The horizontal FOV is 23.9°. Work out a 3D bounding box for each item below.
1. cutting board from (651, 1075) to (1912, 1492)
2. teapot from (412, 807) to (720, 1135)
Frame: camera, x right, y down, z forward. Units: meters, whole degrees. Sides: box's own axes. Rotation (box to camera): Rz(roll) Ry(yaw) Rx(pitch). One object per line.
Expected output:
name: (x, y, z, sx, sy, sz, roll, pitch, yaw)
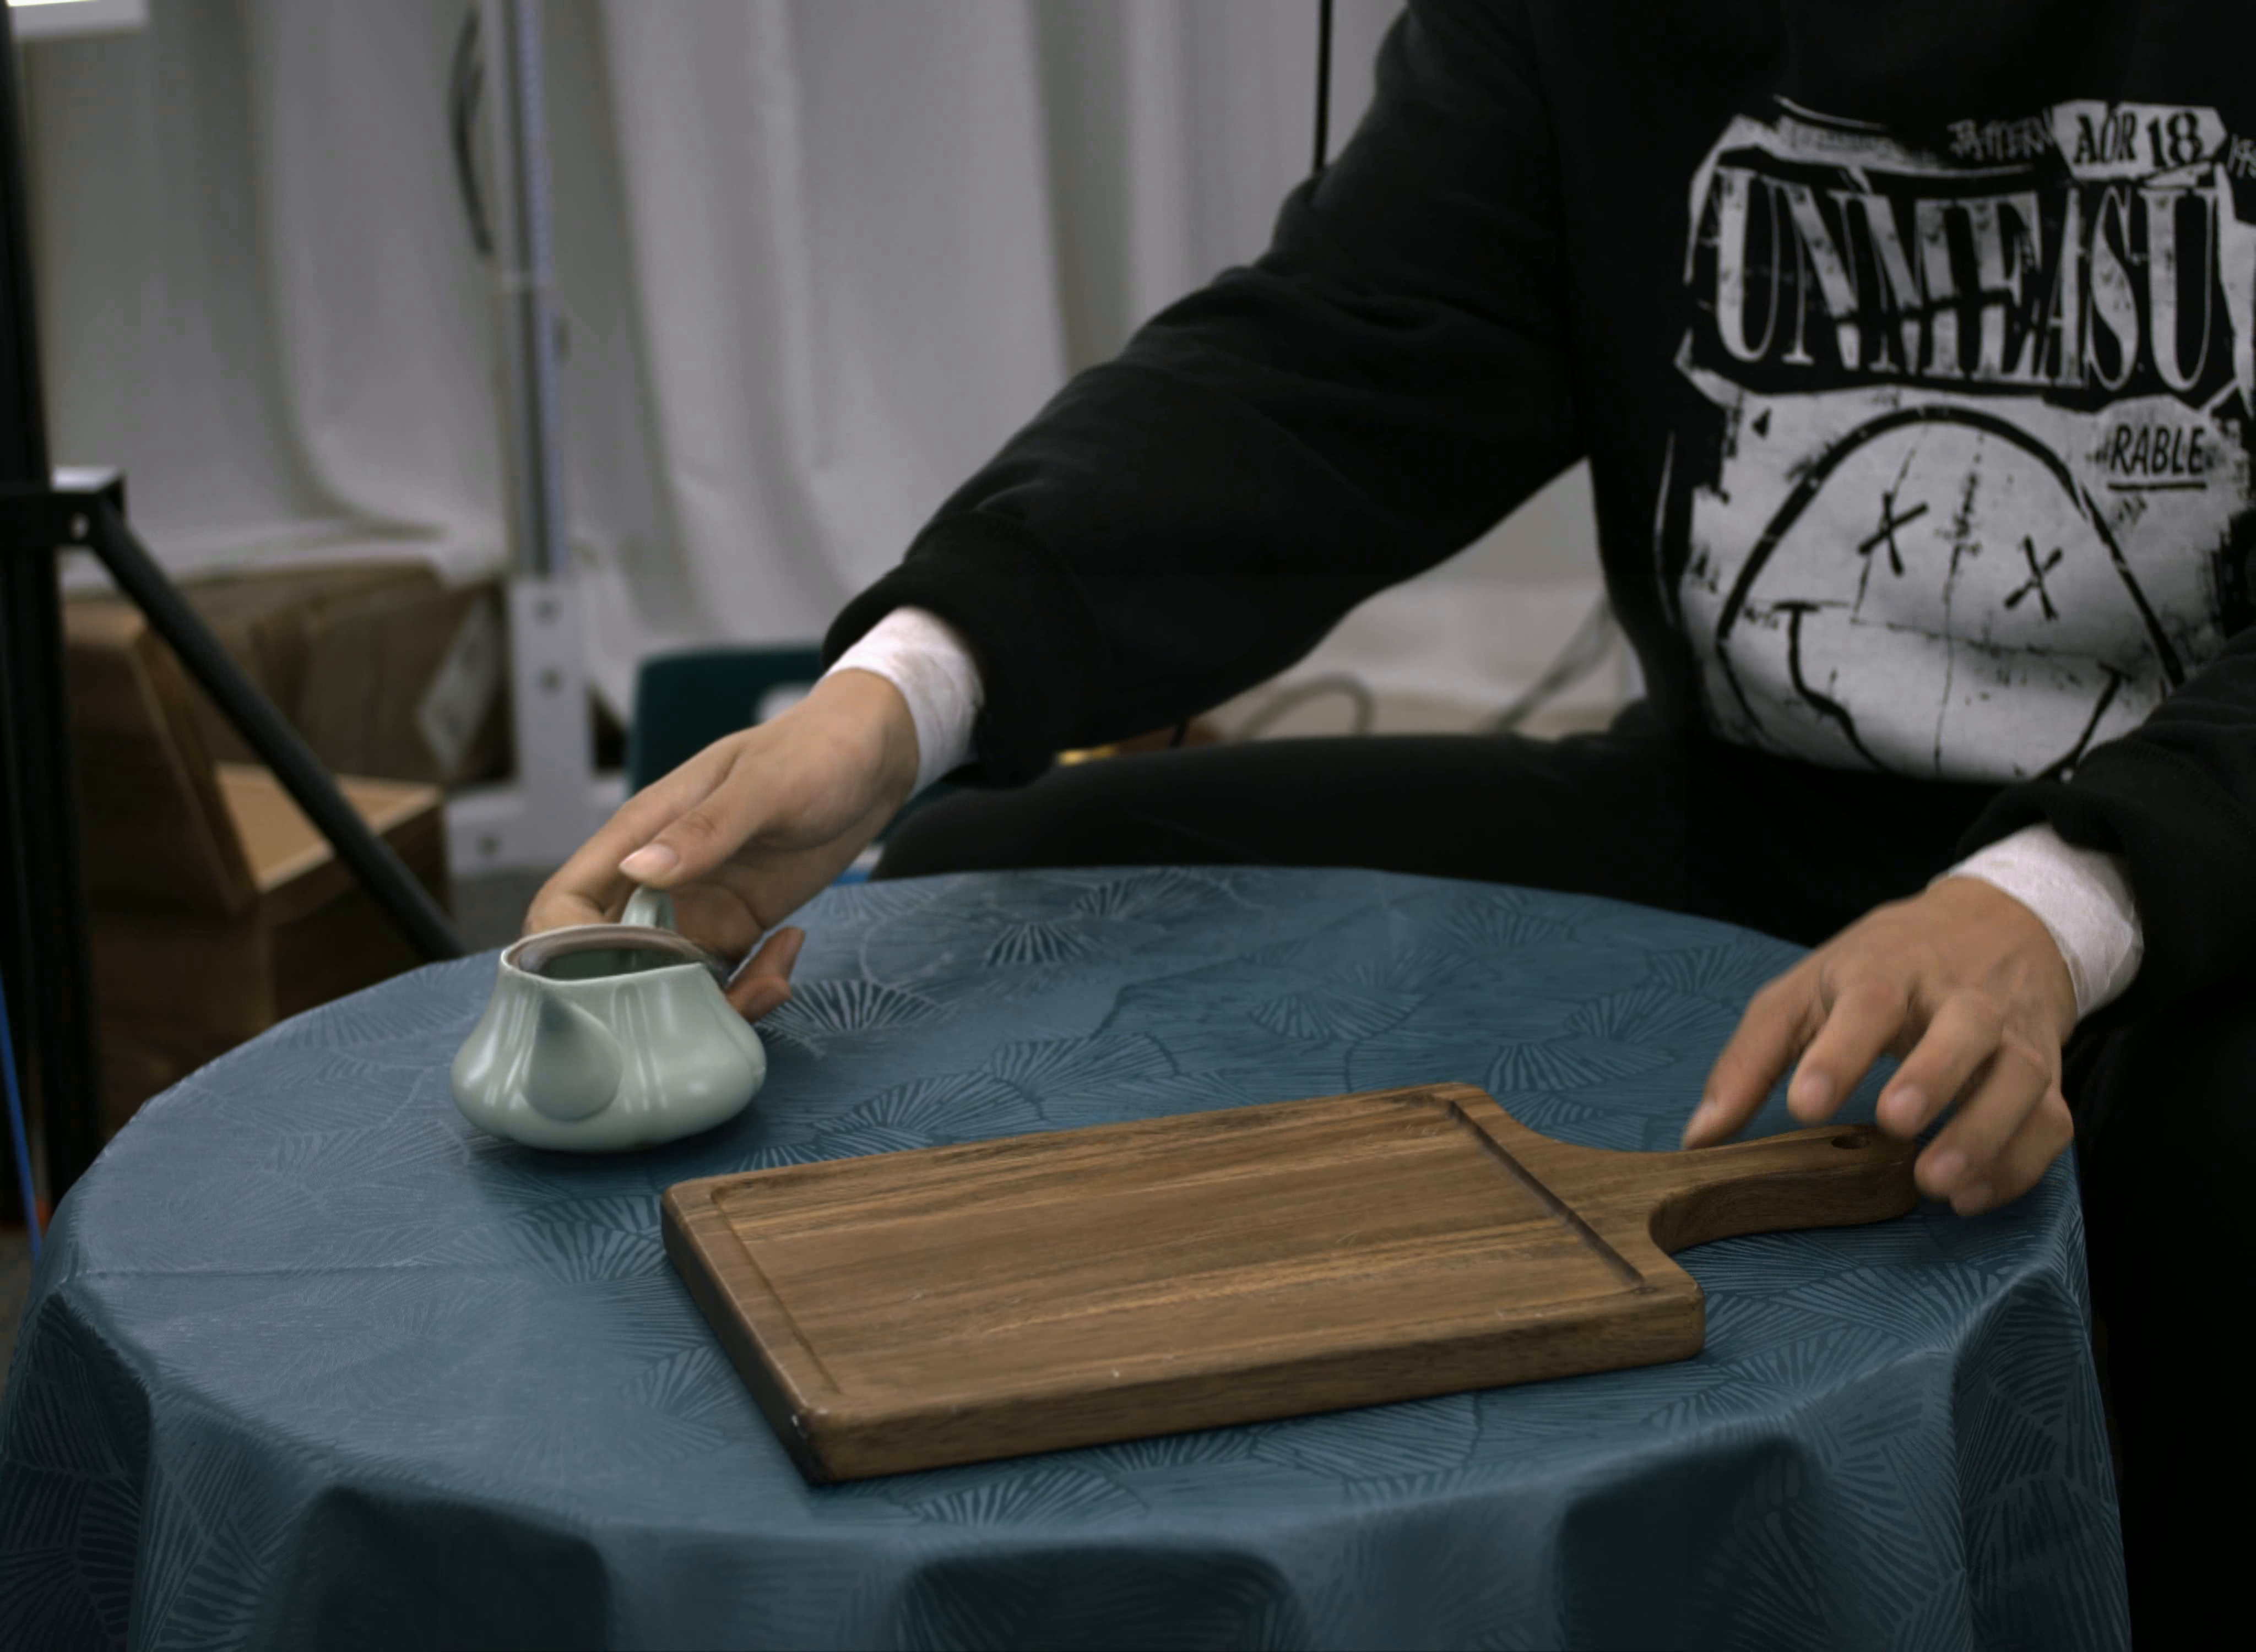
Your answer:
cutting board: (0.057, 0.116, 1.476, 0.347, 0.023, 0.204, -7, 17, -14)
teapot: (-0.166, 0.047, 1.631, 0.096, 0.061, 0.137, 23, 33, -1)
